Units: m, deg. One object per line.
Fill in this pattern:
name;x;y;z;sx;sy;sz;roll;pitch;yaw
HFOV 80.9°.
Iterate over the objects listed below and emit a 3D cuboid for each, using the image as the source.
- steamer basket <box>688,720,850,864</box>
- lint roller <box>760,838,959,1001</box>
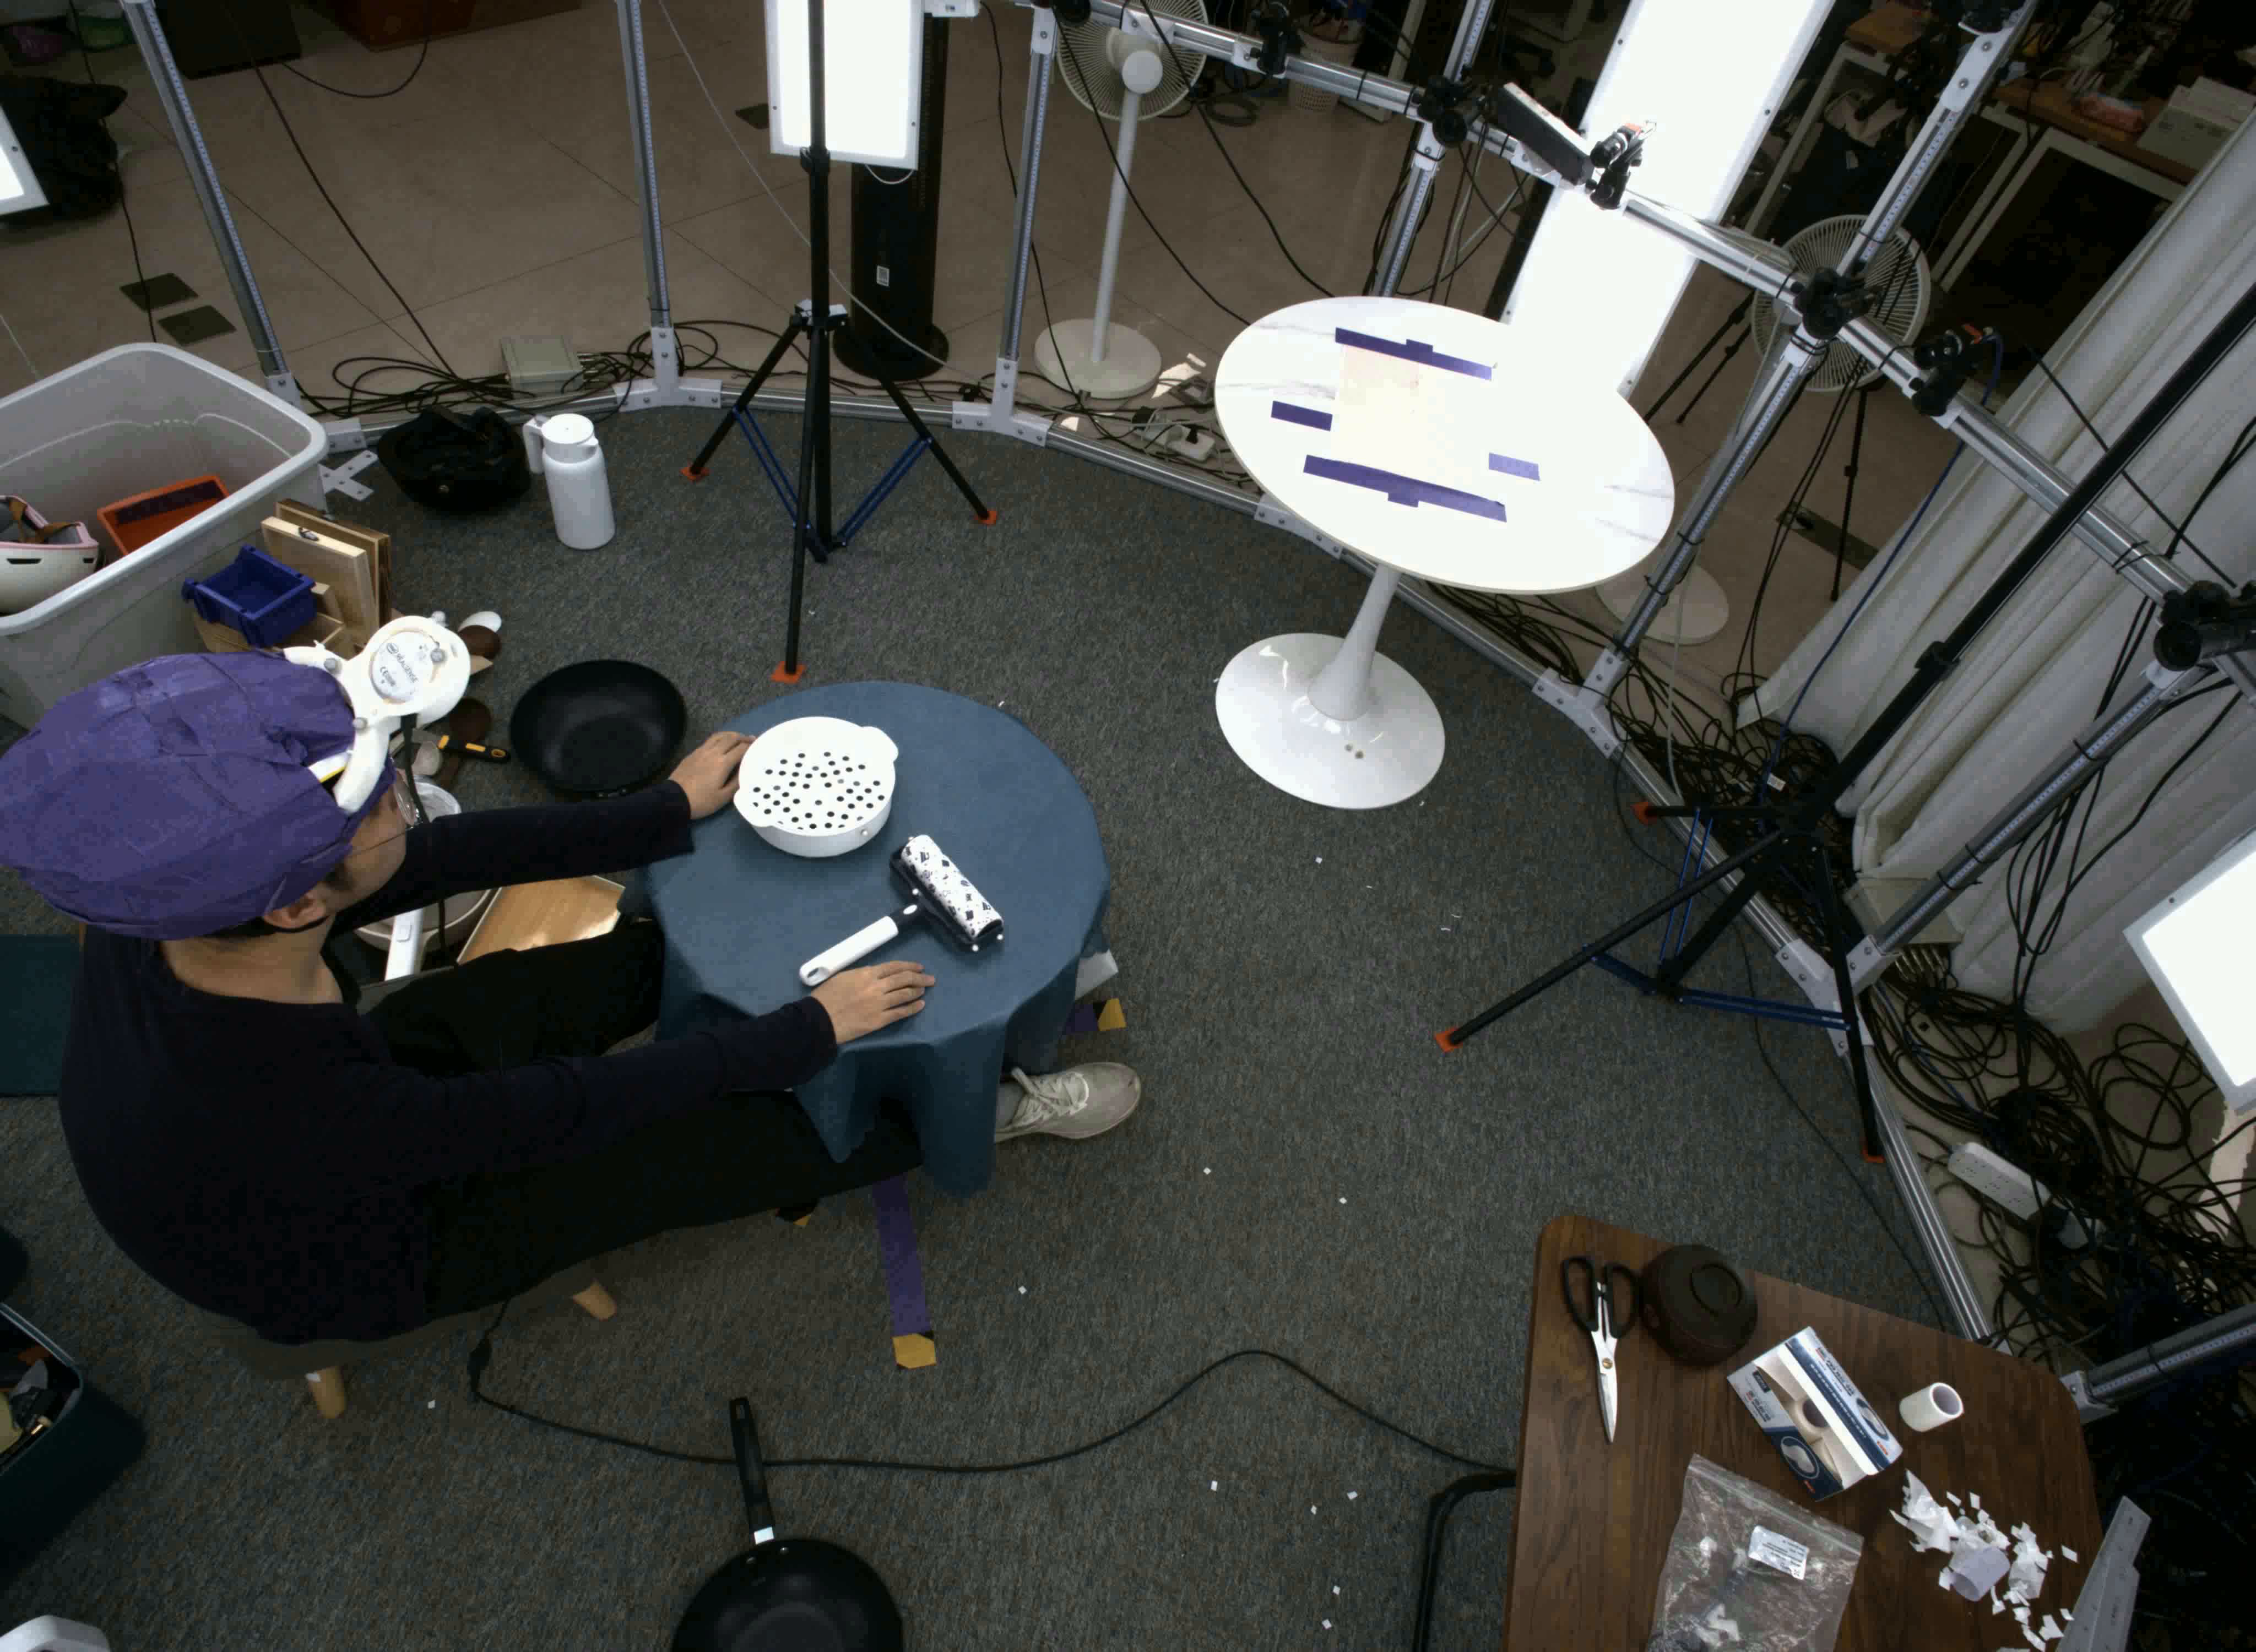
steamer basket;-0.471;-0.044;1.715;0.231;0.071;0.197;-36;68;-30
lint roller;-0.355;0.134;1.627;0.172;0.051;0.247;43;58;17
